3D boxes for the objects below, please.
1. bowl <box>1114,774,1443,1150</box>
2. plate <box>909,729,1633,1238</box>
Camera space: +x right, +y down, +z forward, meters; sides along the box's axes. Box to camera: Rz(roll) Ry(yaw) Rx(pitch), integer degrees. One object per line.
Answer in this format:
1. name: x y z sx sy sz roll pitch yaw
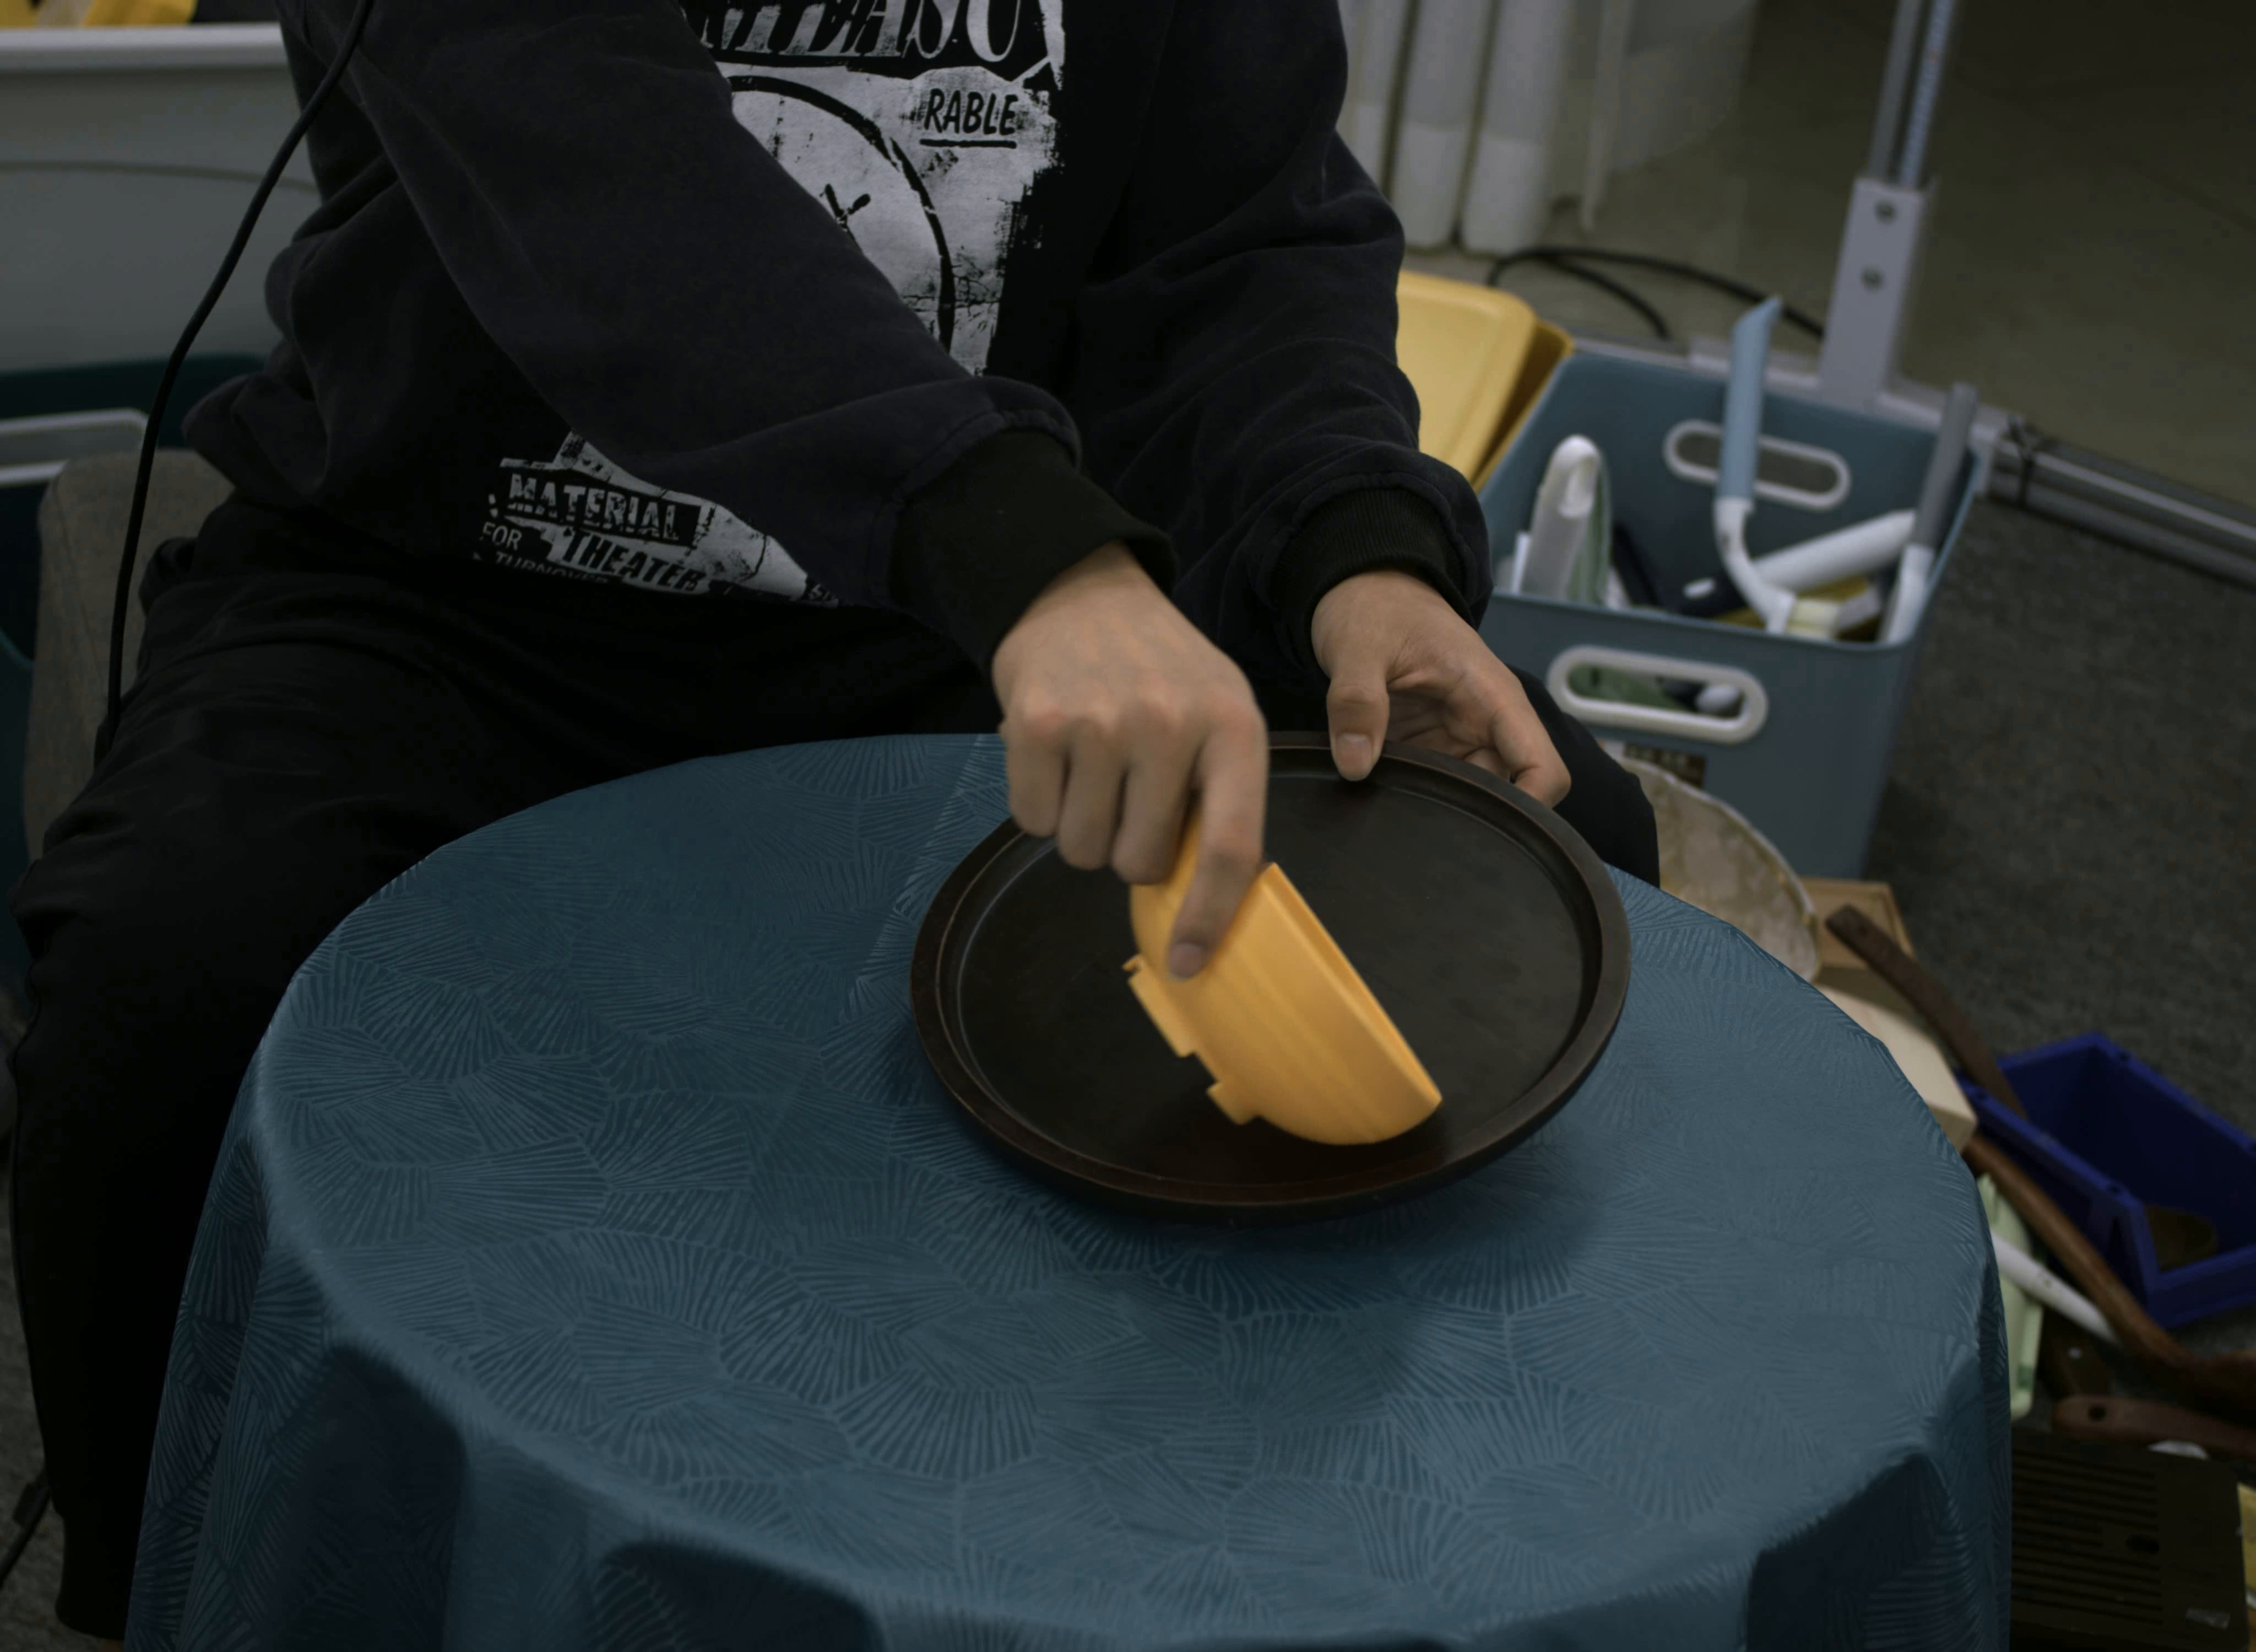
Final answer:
1. bowl: 0.038 0.057 1.760 0.060 0.144 0.146 -38 33 2
2. plate: 0.050 0.053 1.859 0.254 0.029 0.257 -5 39 4
